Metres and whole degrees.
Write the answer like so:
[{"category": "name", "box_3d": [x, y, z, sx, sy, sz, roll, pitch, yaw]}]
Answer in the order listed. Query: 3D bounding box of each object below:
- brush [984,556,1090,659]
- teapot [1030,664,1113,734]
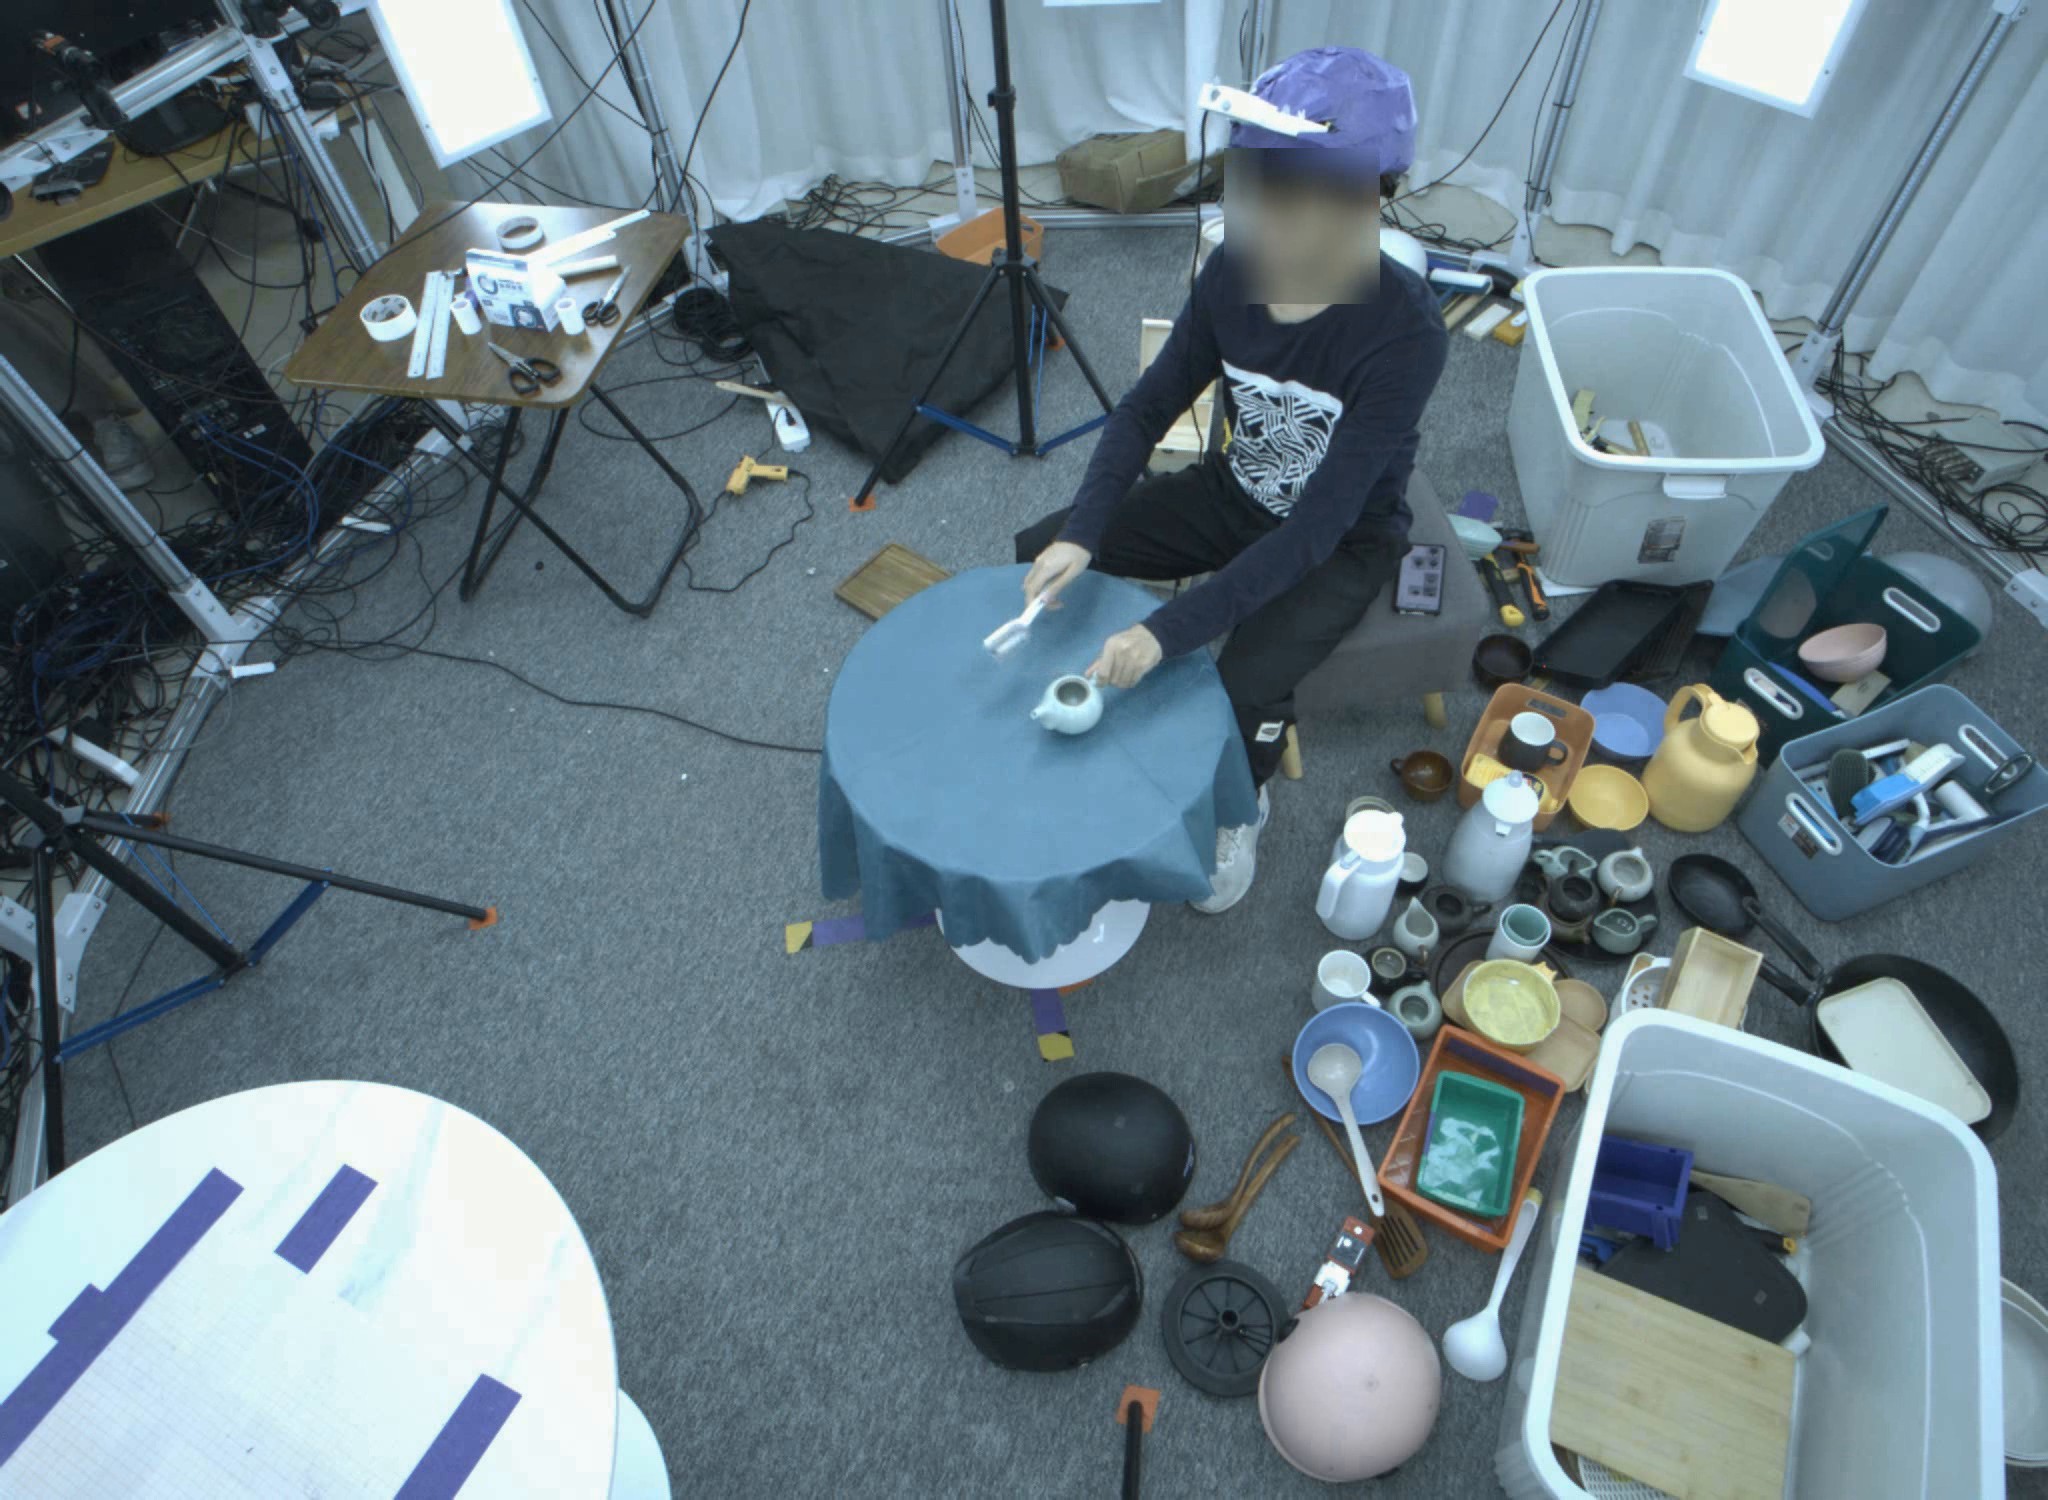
[{"category": "brush", "box_3d": [0.031, -0.217, 1.832, 0.245, 0.035, 0.049, -44, 28, -26]}, {"category": "teapot", "box_3d": [0.071, -0.066, 1.780, 0.145, 0.075, 0.086, -32, 59, -15]}]
